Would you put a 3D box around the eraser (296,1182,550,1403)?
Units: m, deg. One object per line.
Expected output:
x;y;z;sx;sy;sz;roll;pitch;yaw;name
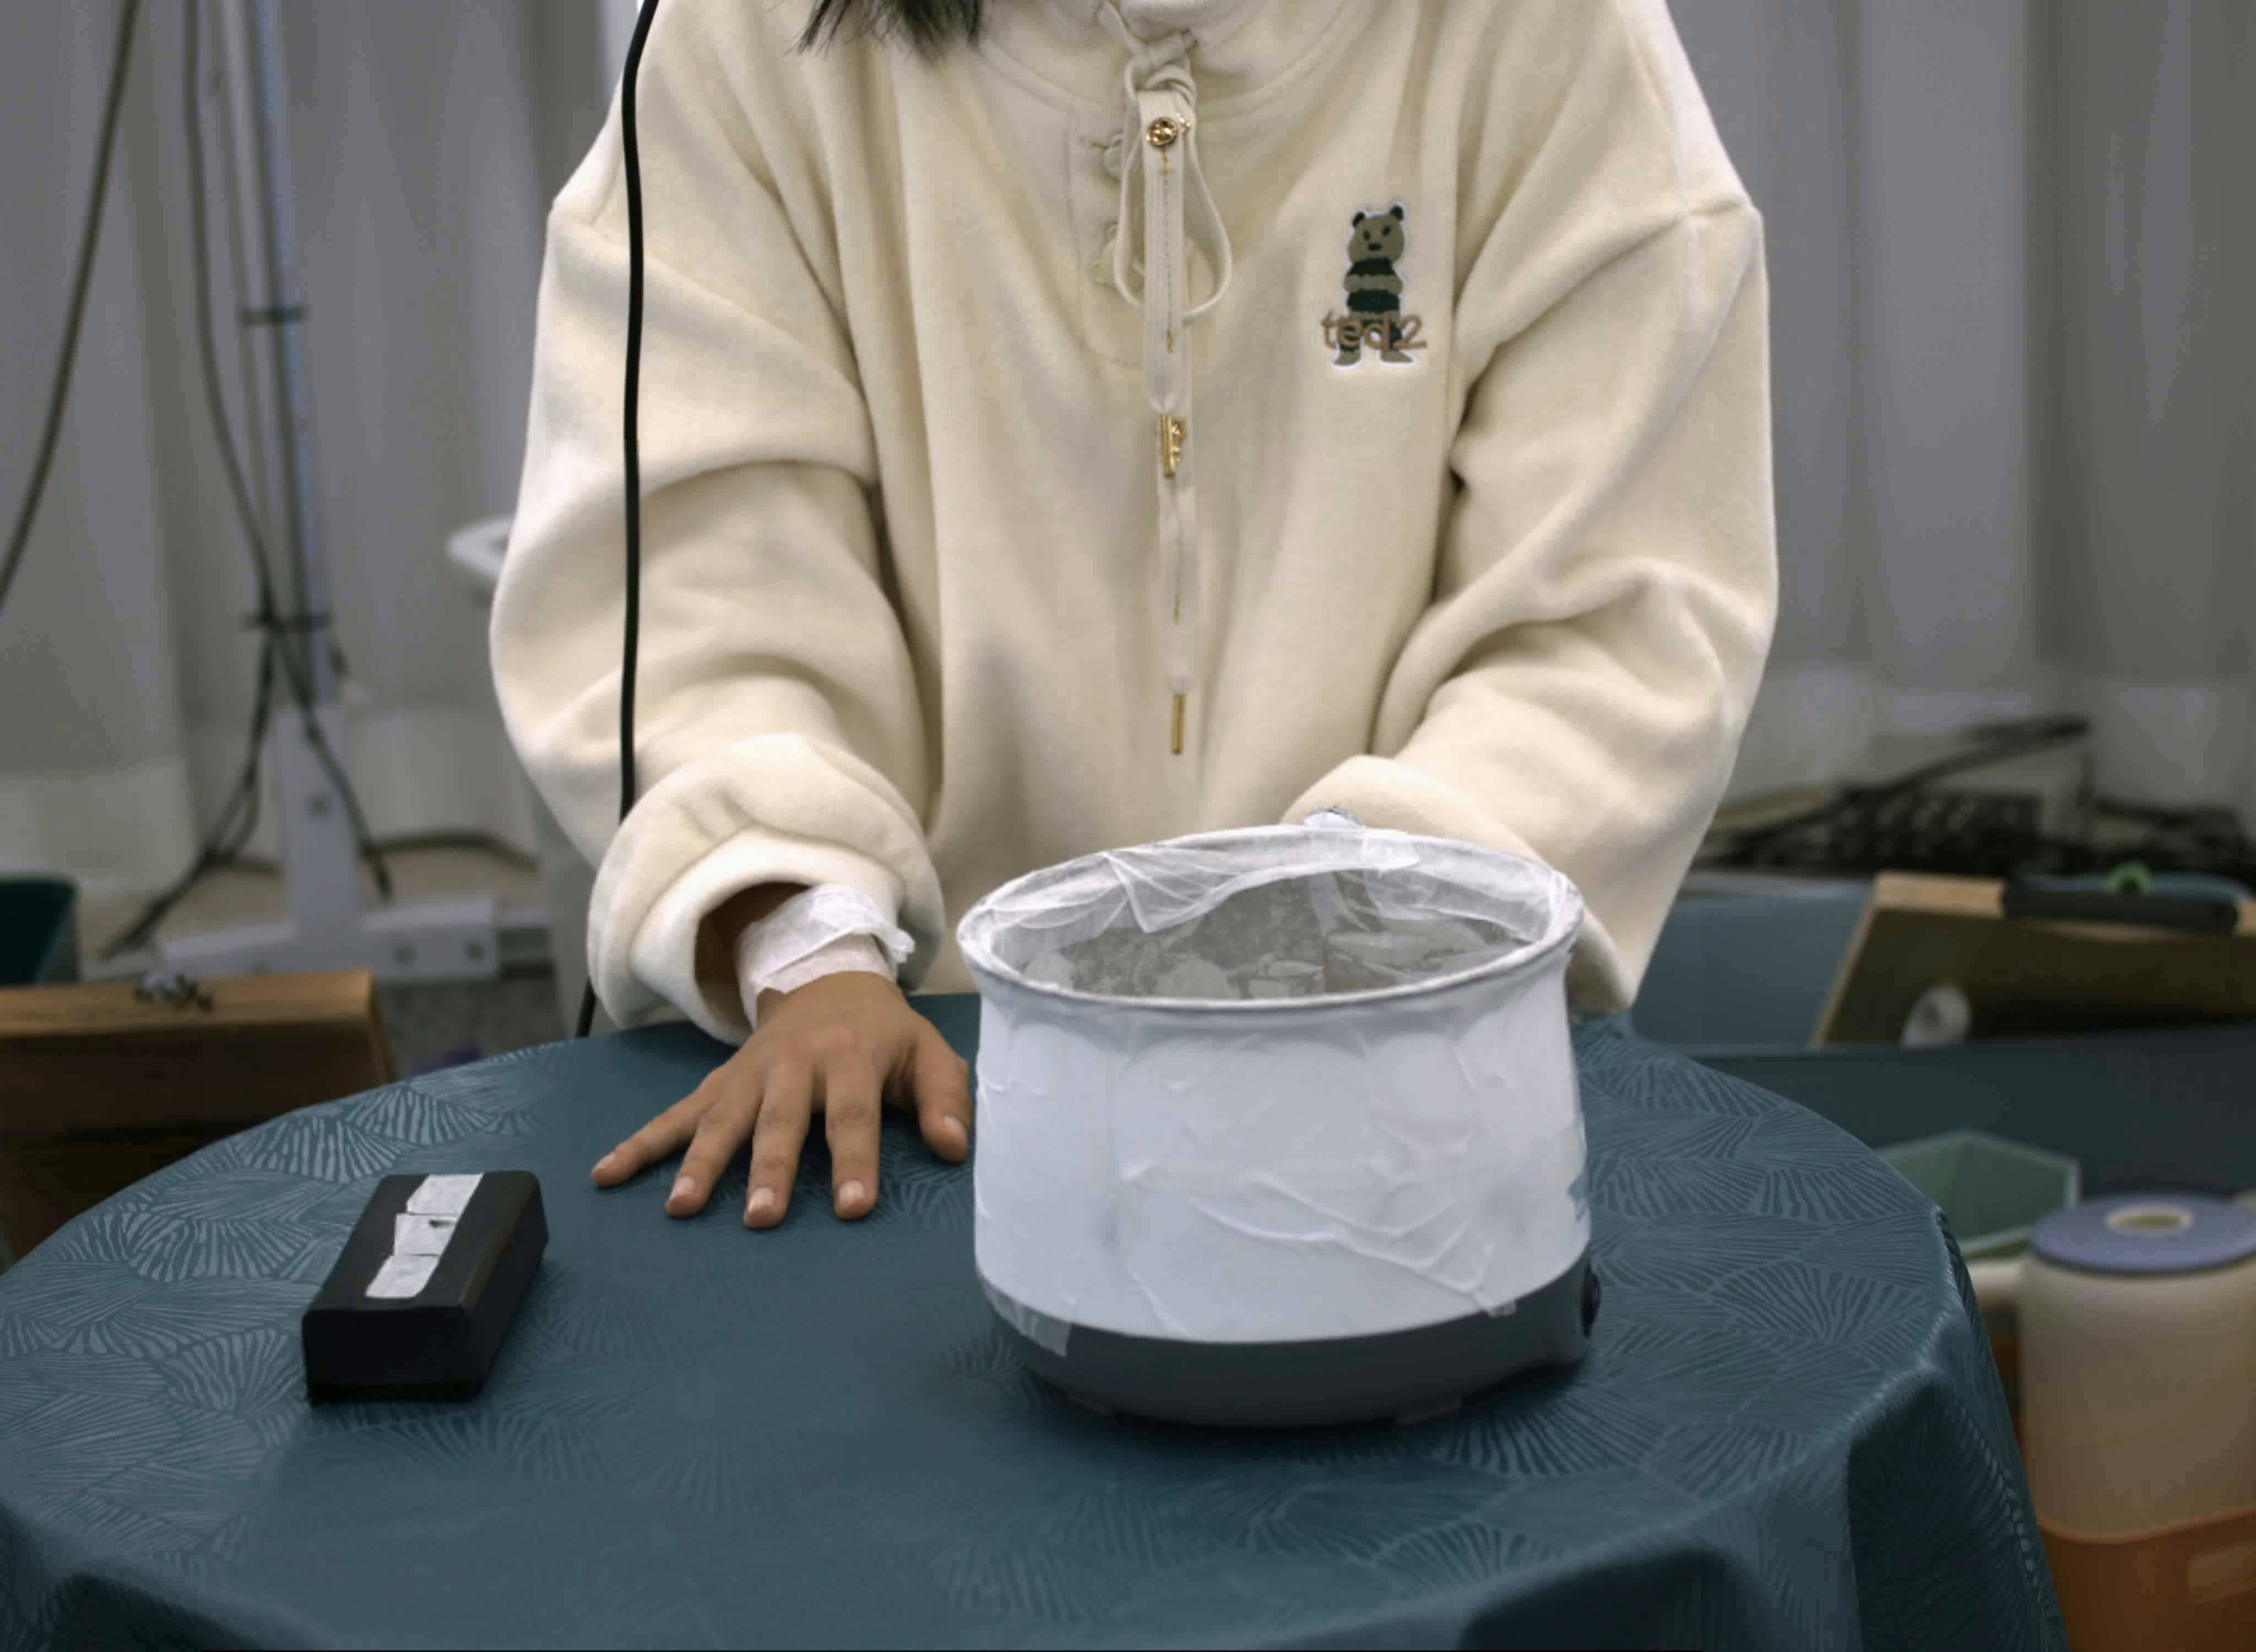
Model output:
-0.206;0.137;1.618;0.053;0.030;0.126;-1;14;4;eraser

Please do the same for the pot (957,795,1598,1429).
0.048;0.077;1.577;0.178;0.136;0.235;0;16;11;pot
